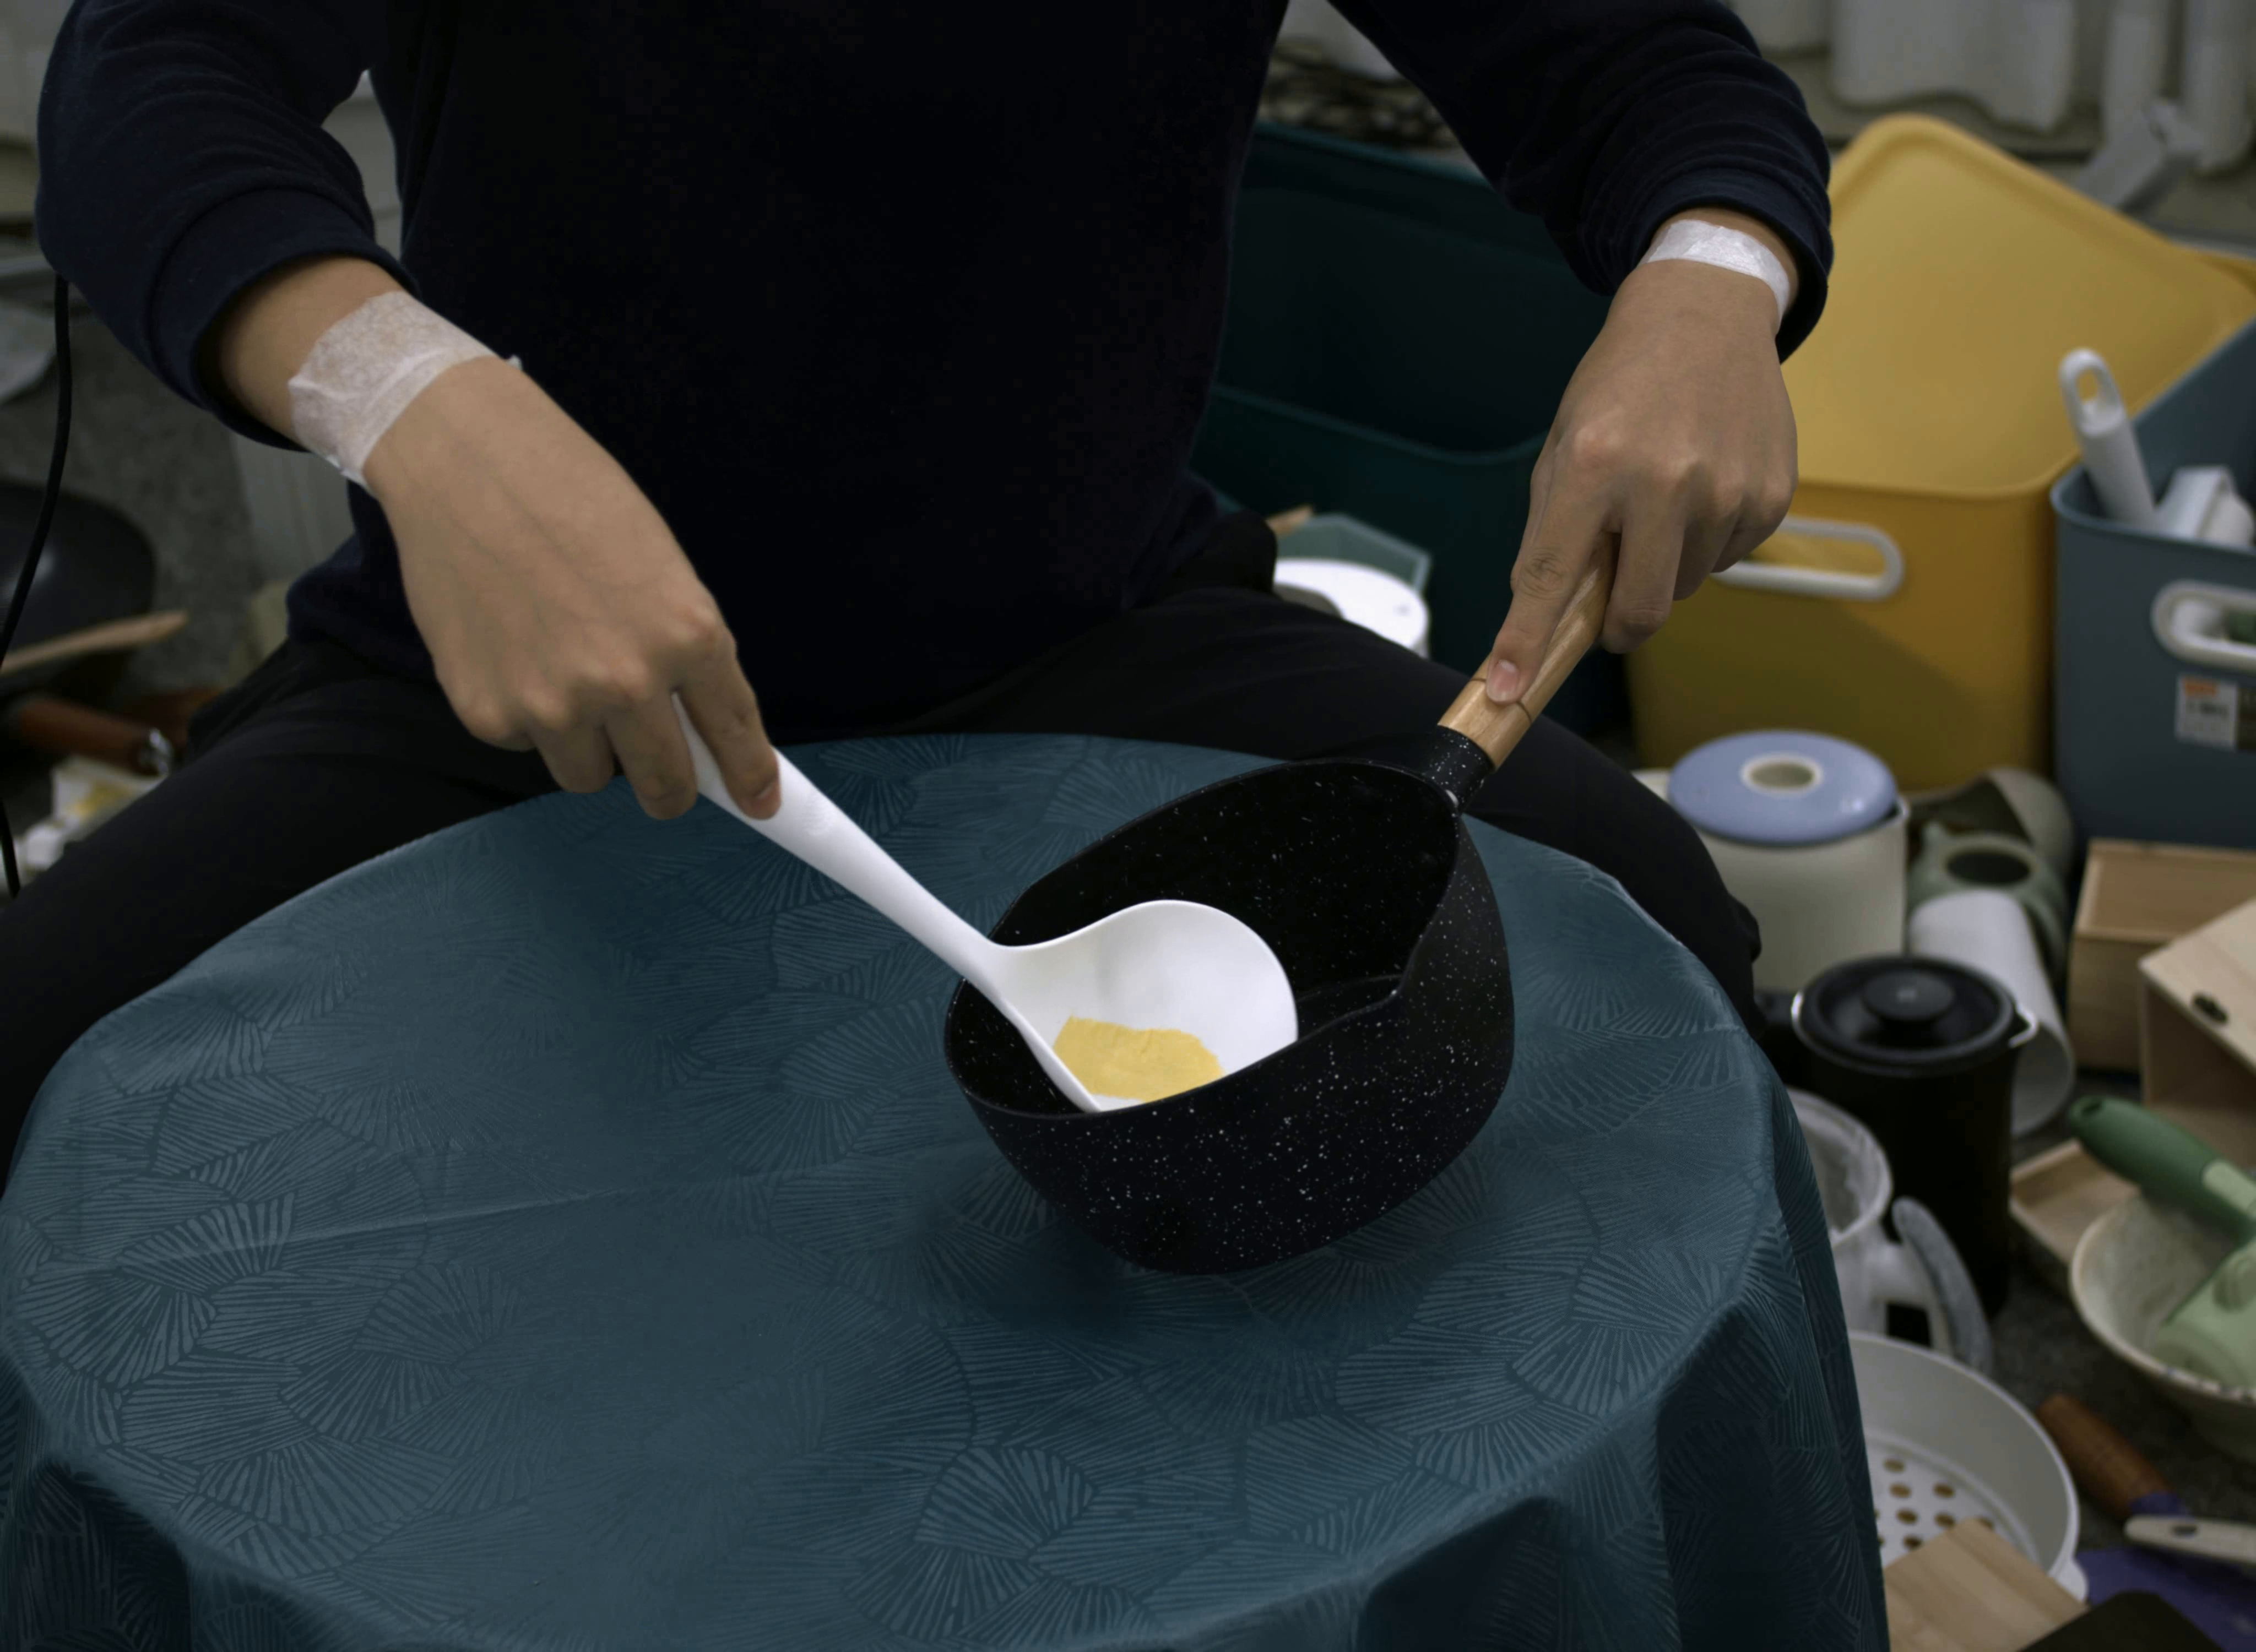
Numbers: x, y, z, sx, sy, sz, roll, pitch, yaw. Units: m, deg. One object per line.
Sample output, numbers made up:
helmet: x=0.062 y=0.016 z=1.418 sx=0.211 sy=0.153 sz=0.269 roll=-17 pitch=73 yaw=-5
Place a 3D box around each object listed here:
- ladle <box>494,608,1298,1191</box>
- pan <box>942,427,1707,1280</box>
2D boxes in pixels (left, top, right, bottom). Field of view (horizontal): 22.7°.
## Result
ladle: x=-0.066 y=0.018 z=1.701 sx=0.069 sy=0.291 sz=0.092 roll=-10 pitch=54 yaw=42
pan: x=0.089 y=0.009 z=1.856 sx=0.347 sy=0.107 sz=0.206 roll=-43 pitch=30 yaw=-25
